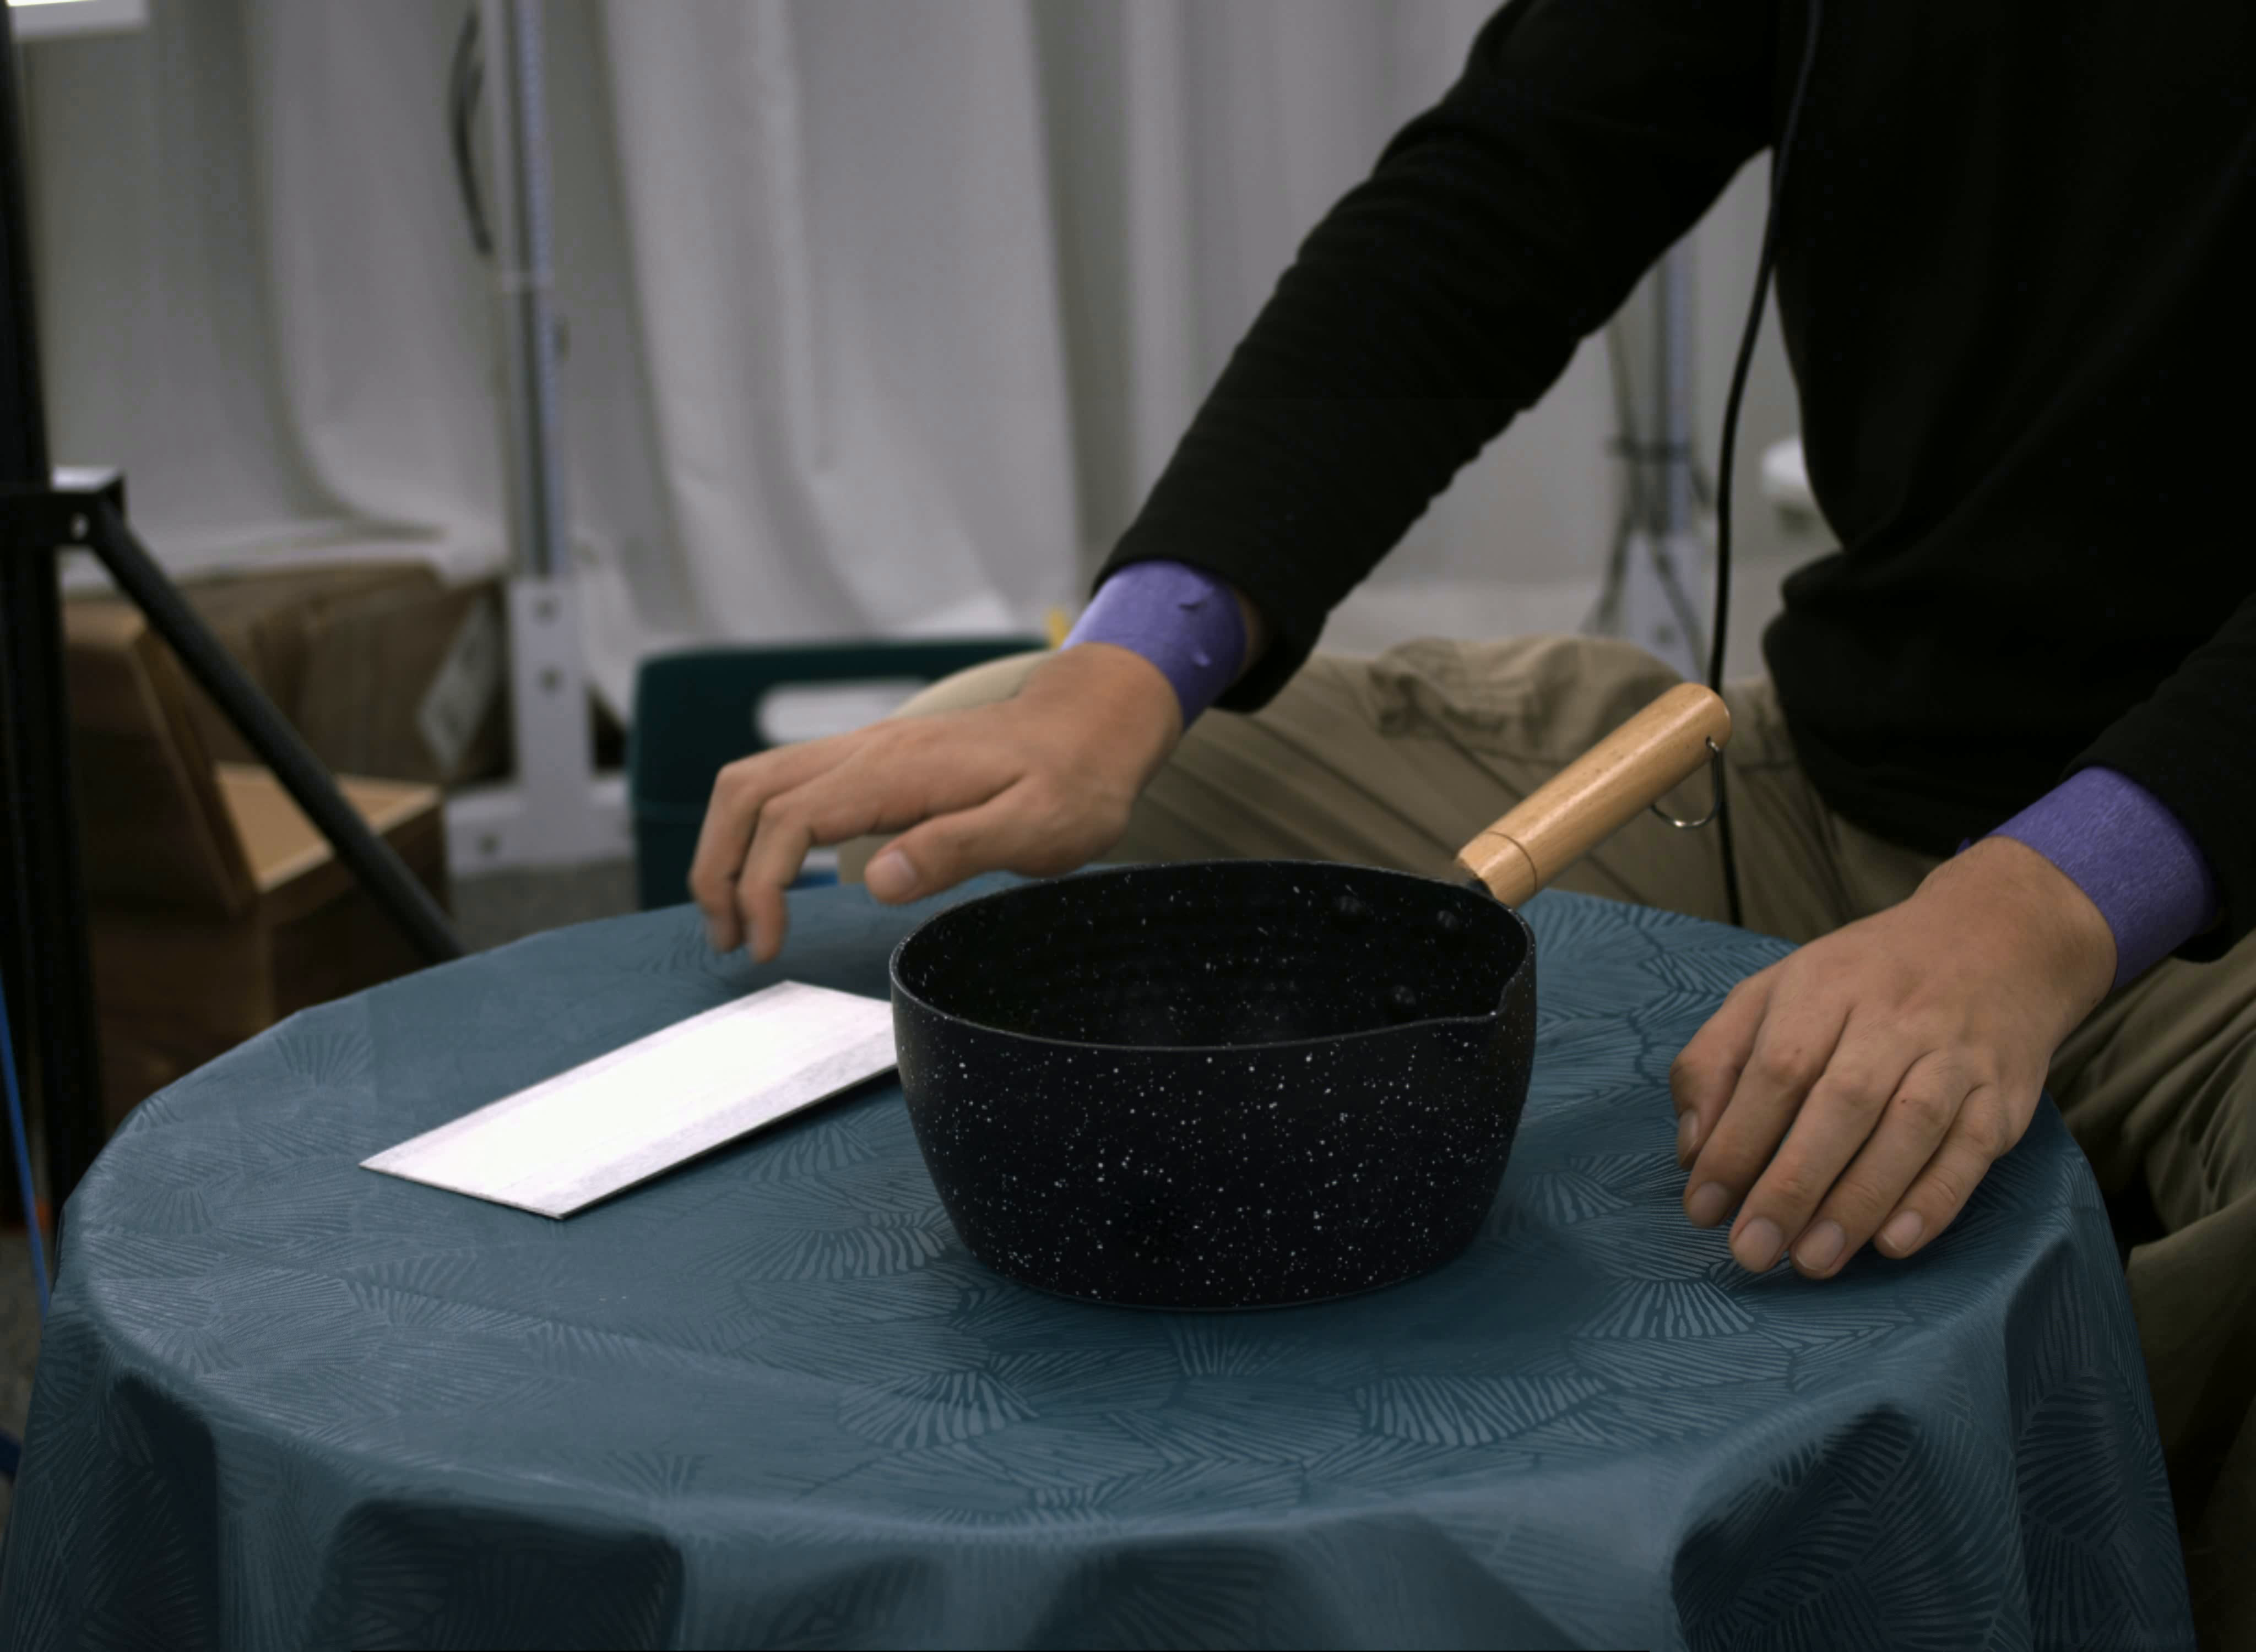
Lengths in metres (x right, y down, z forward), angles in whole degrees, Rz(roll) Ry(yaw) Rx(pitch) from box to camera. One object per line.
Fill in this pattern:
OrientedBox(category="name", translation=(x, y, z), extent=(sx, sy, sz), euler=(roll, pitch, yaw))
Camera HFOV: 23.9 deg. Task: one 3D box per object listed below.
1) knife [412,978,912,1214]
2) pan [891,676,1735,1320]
OrientedBox(category="knife", translation=(-0.101, 0.068, 1.686), extent=(0.095, 0.021, 0.299), euler=(10, 22, 40))
OrientedBox(category="pan", translation=(0.075, 0.046, 1.568), extent=(0.212, 0.108, 0.335), euler=(10, 21, 39))
